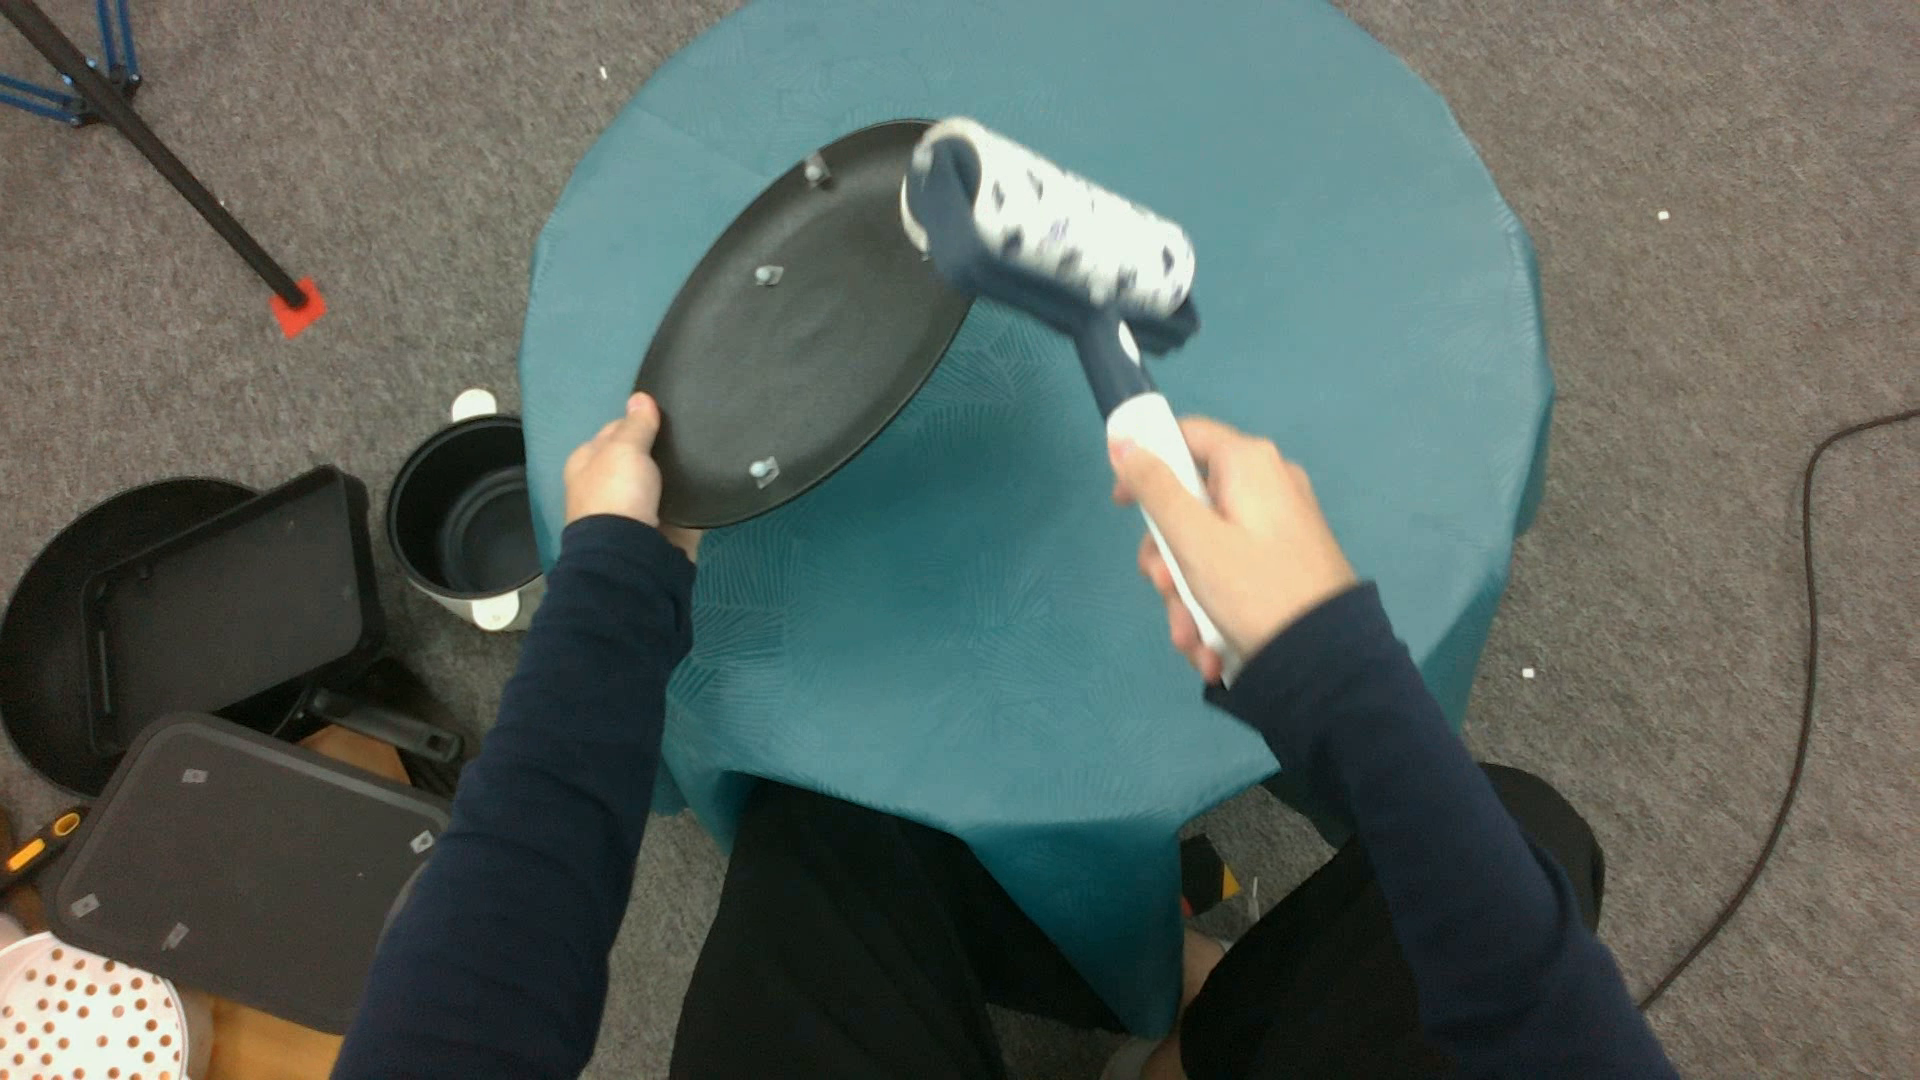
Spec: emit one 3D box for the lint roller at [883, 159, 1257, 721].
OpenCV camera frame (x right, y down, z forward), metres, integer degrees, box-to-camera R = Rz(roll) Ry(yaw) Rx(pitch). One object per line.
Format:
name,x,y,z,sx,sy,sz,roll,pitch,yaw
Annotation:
lint roller,0.072,-0.042,0.585,0.050,0.176,0.247,-37,65,31

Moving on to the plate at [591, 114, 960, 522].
plate,-0.093,-0.113,0.696,0.243,0.023,0.245,-21,50,28
